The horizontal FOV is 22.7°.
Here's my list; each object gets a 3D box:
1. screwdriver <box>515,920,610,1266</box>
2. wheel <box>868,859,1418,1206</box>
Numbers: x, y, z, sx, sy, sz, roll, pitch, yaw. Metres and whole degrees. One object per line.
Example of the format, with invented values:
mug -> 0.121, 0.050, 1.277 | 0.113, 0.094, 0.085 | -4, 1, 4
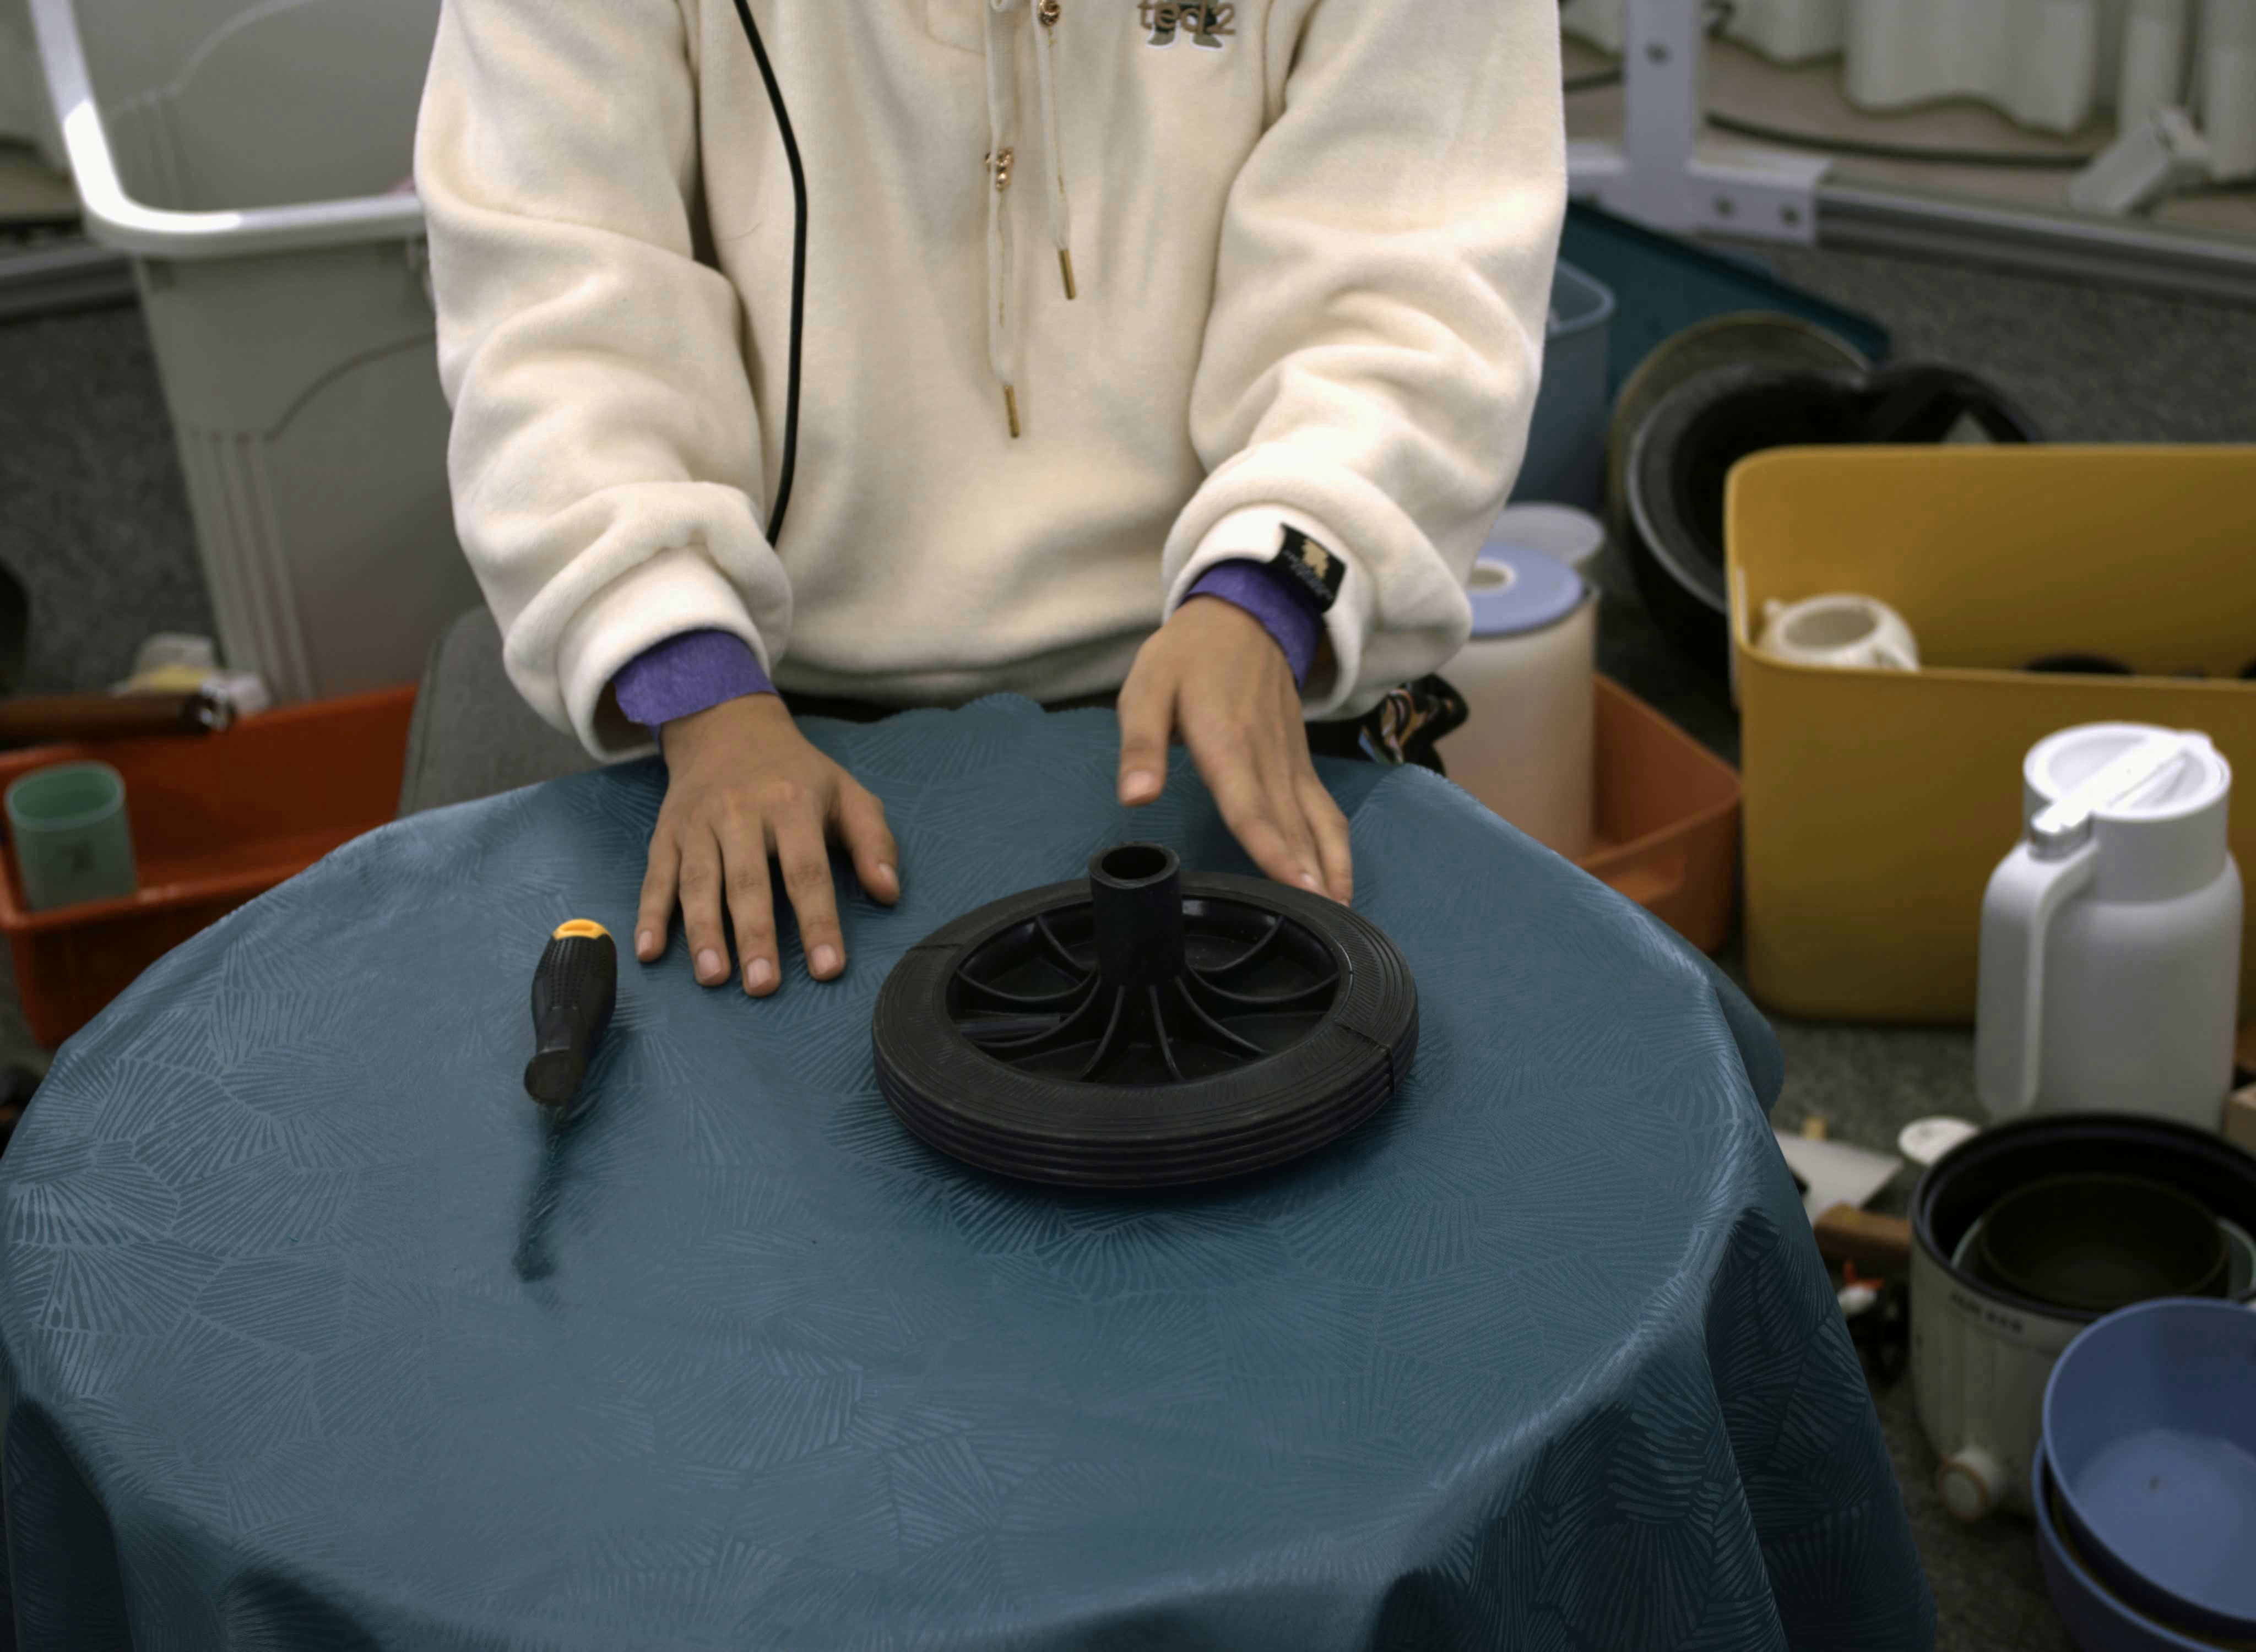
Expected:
screwdriver -> -0.200, 0.092, 1.913 | 0.031, 0.031, 0.201 | -1, 30, 4
wheel -> 0.003, 0.053, 1.913 | 0.191, 0.078, 0.188 | -18, 30, -21
